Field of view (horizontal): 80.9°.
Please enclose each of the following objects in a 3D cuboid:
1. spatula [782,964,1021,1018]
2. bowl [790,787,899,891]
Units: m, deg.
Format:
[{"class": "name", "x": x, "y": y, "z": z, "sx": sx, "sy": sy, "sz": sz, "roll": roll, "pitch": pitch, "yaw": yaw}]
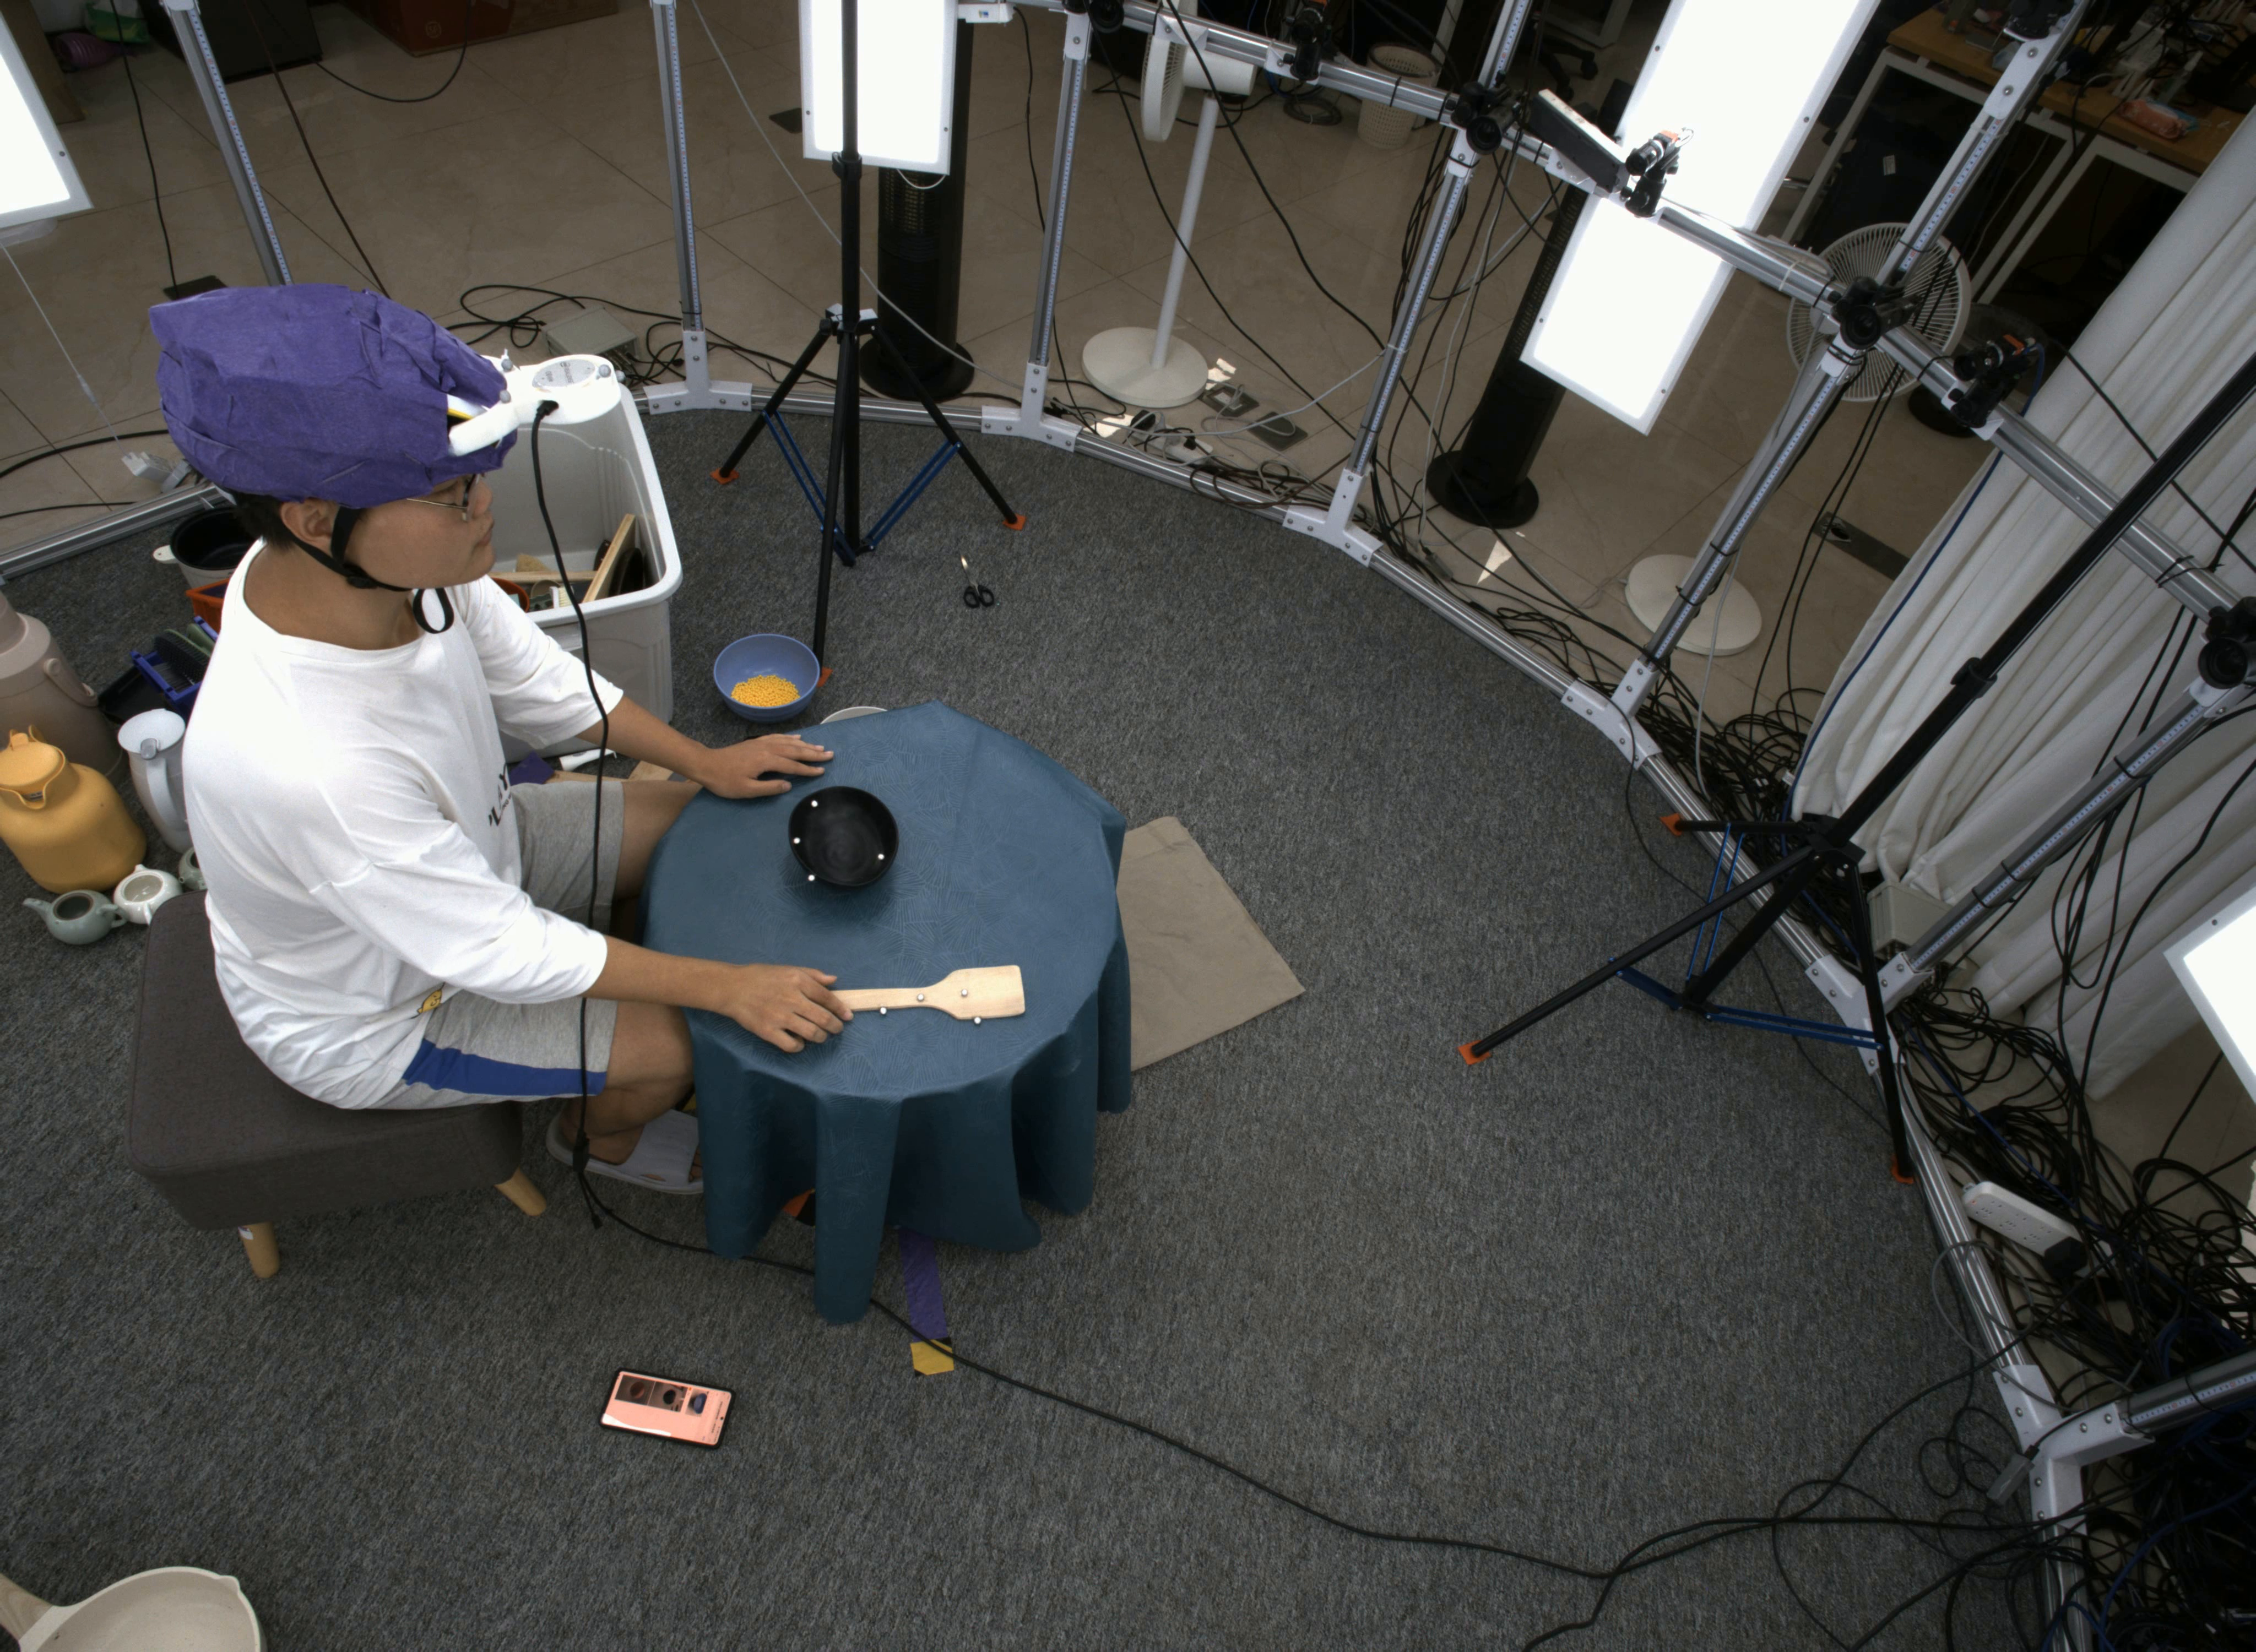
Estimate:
[{"class": "spatula", "x": -0.278, "y": 0.210, "z": 1.607, "sx": 0.293, "sy": 0.011, "sz": 0.071, "roll": -3, "pitch": 56, "yaw": -15}, {"class": "bowl", "x": -0.369, "y": 0.024, "z": 1.689, "sx": 0.138, "sy": 0.068, "sz": 0.166, "roll": -14, "pitch": 56, "yaw": -21}]
